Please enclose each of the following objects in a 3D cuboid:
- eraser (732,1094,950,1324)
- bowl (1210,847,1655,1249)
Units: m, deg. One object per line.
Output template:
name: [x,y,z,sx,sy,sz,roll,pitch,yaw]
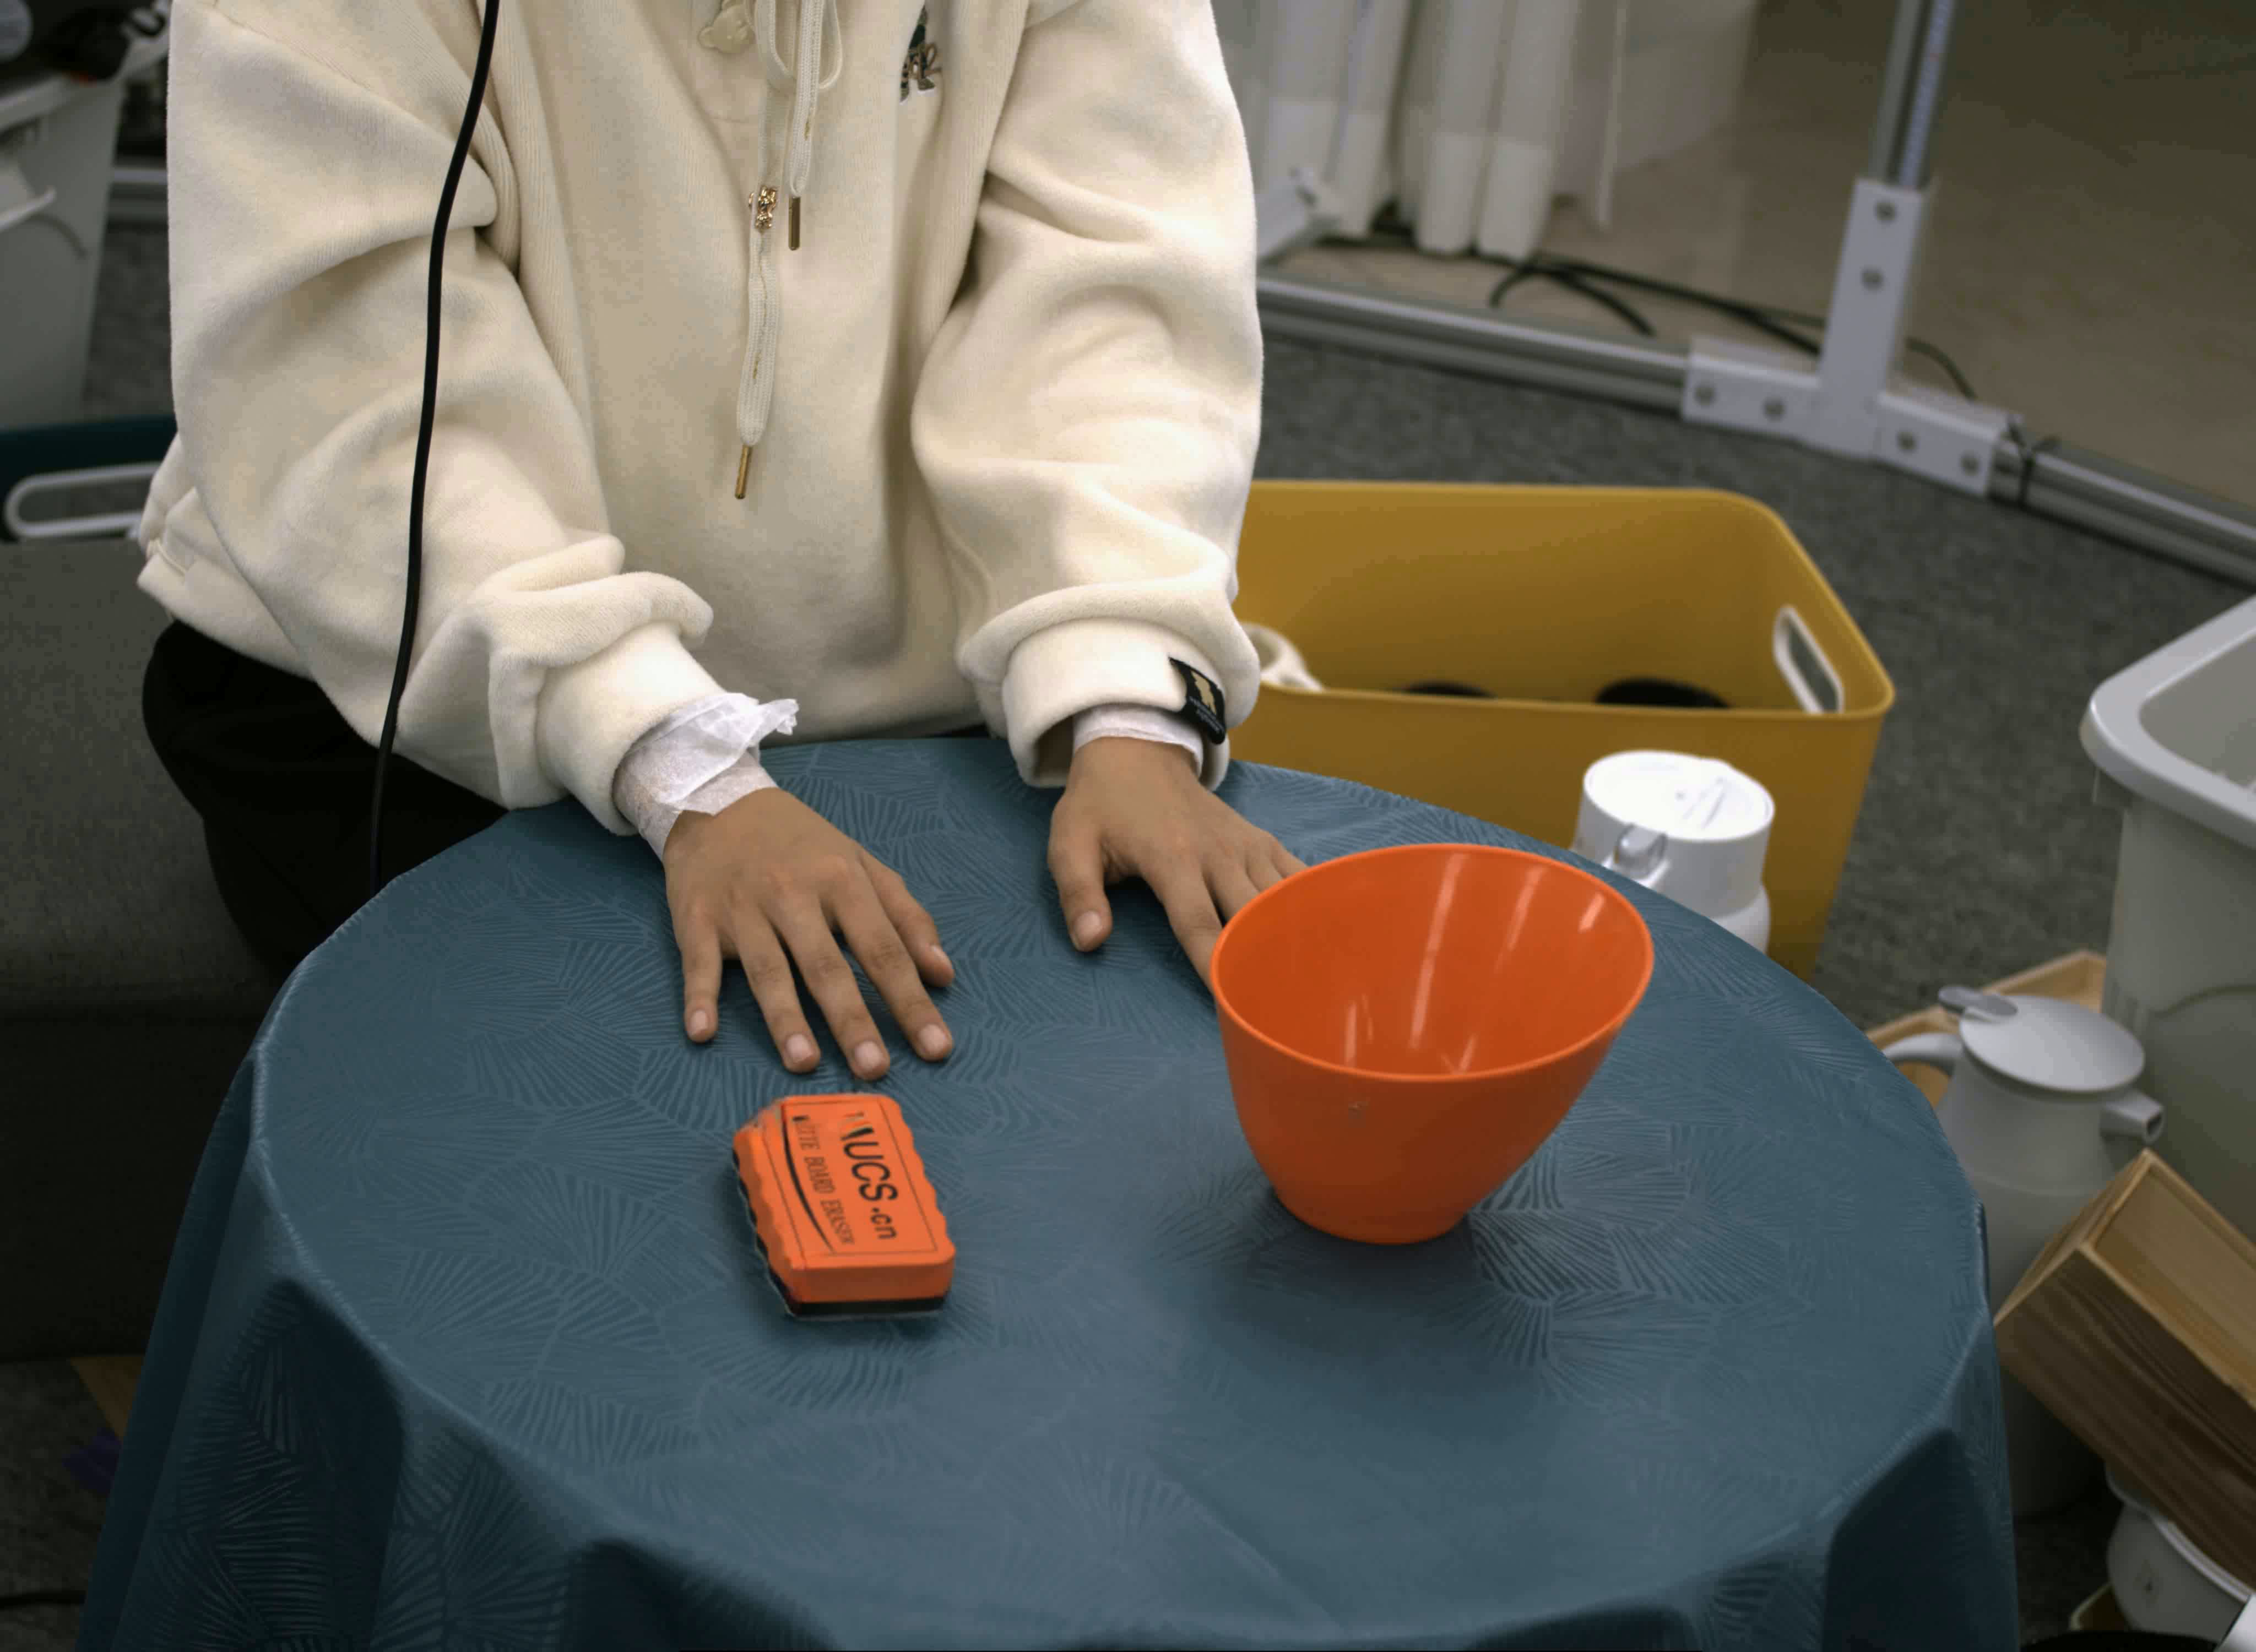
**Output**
eraser: [-0.095,0.125,1.752,0.058,0.023,0.109,-2,28,-13]
bowl: [0.098,0.081,1.796,0.147,0.104,0.149,5,28,-3]
